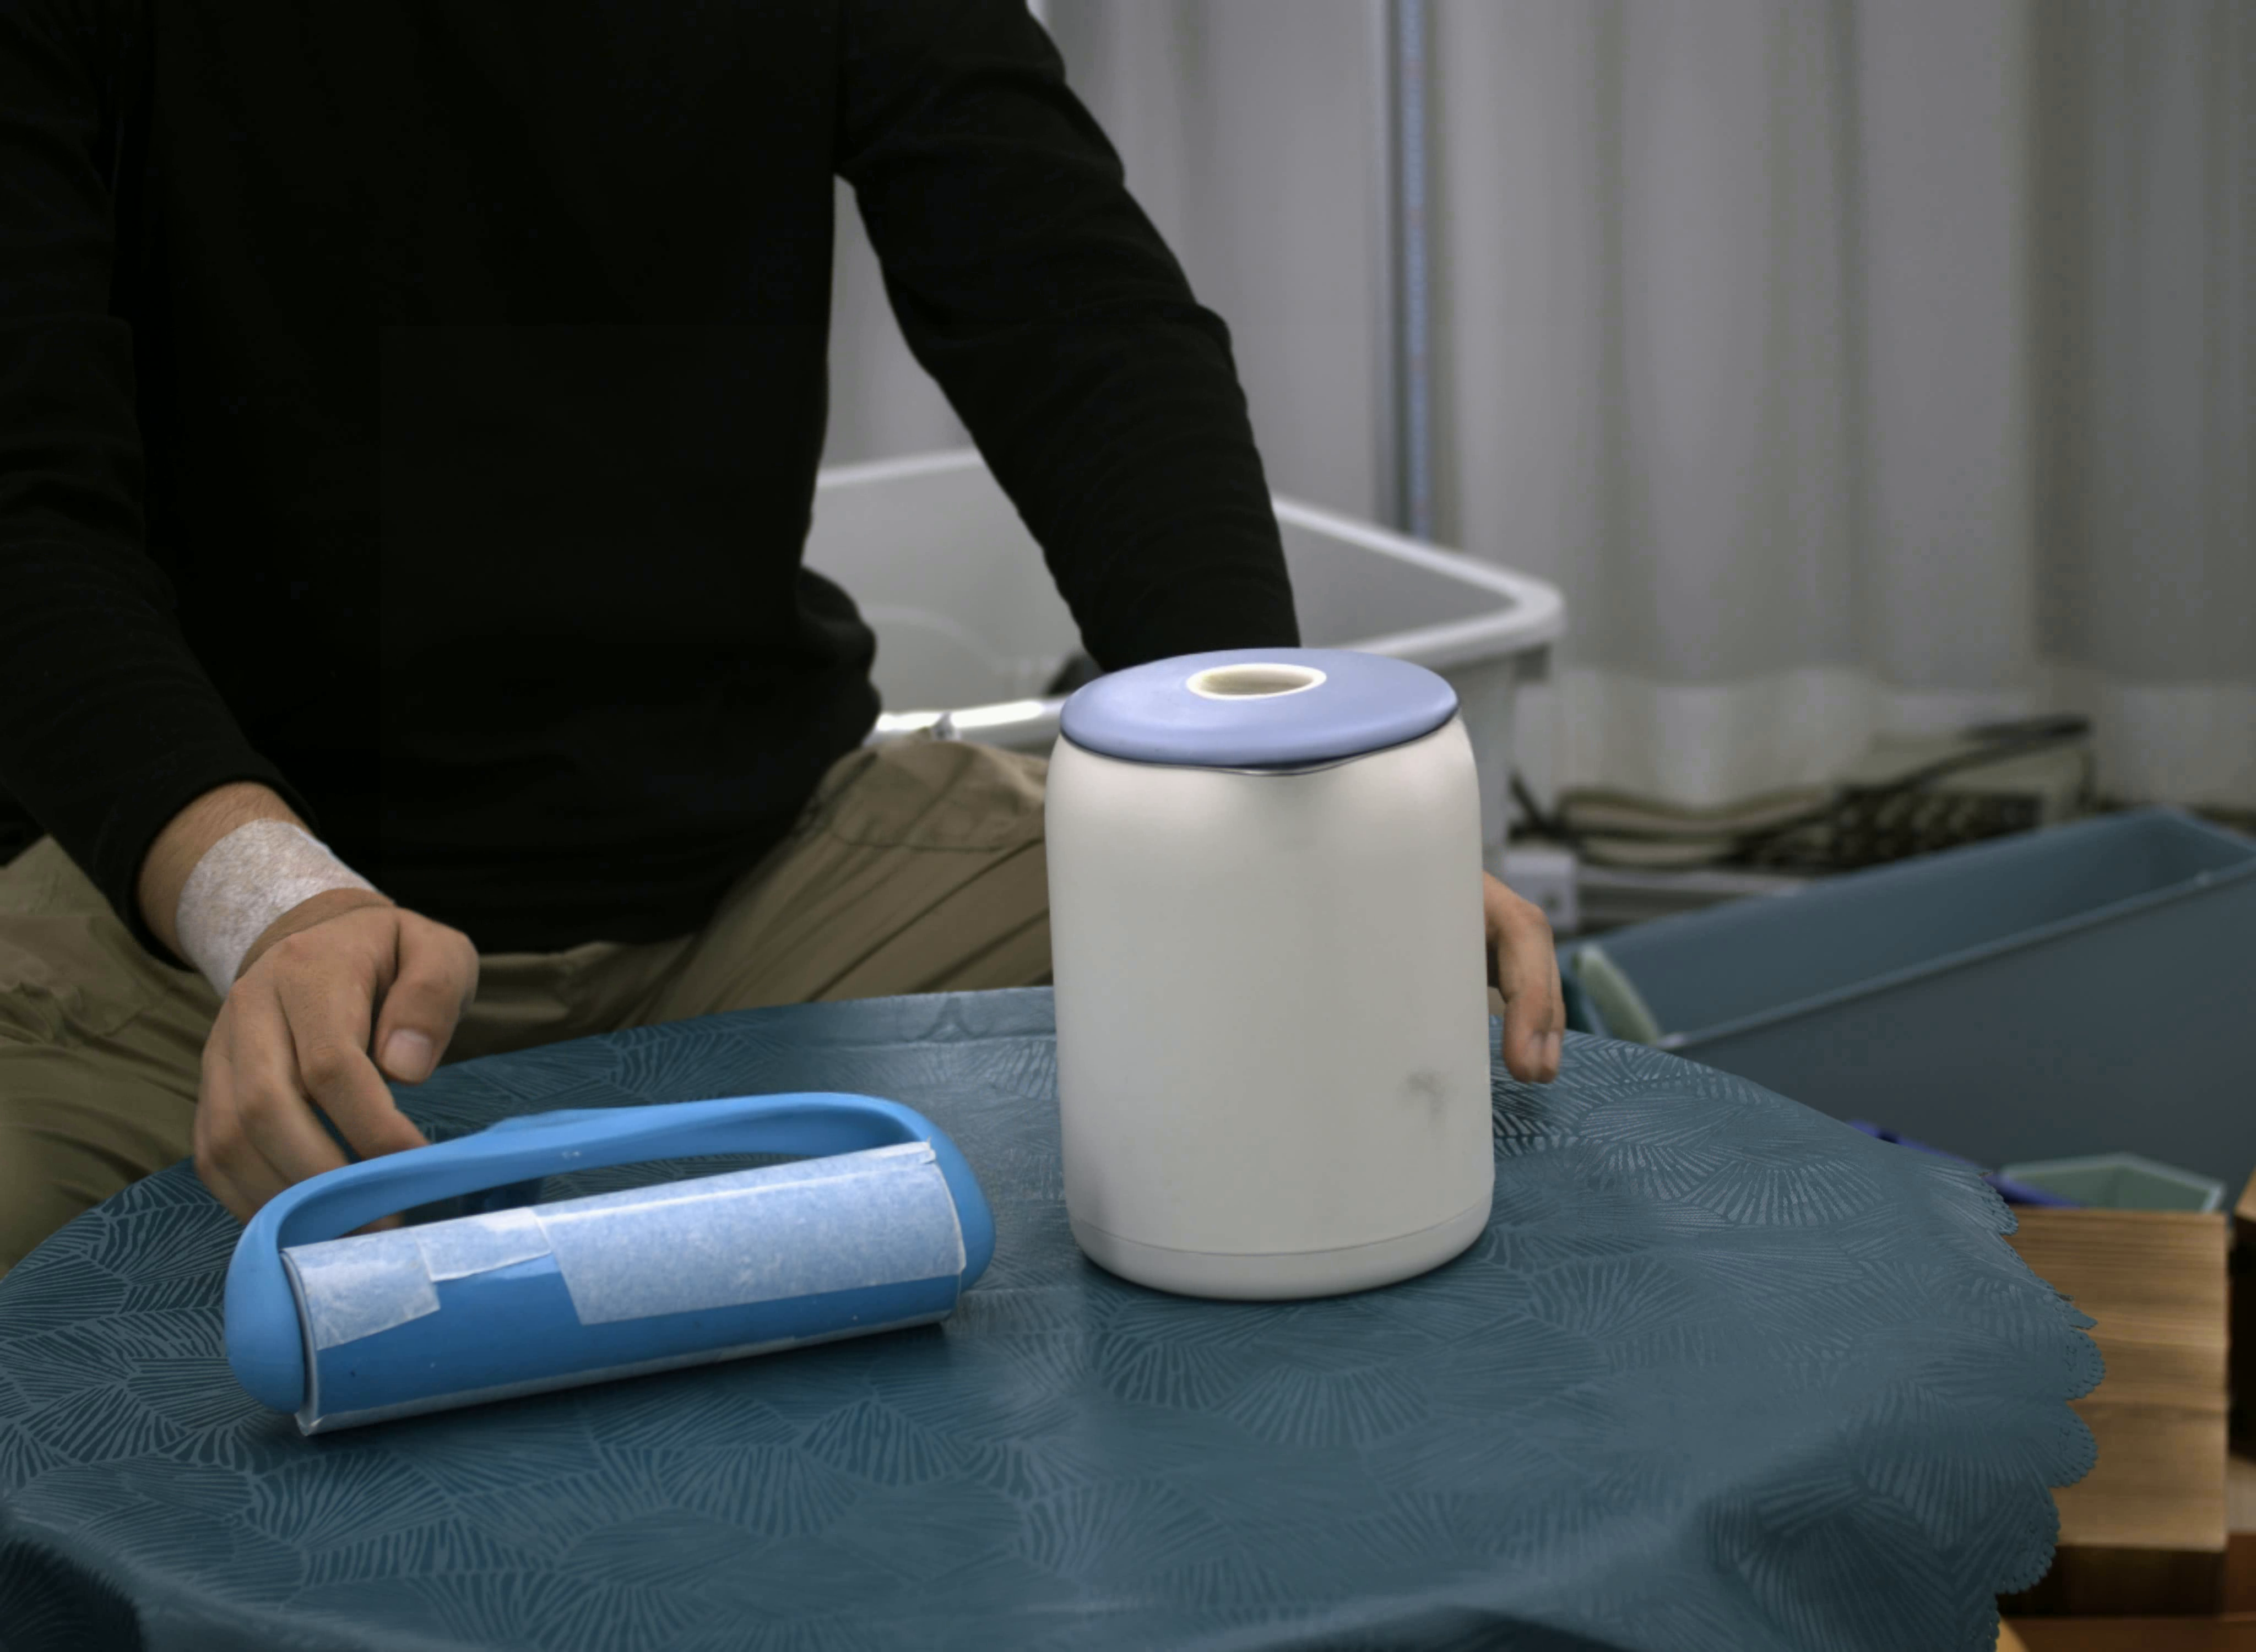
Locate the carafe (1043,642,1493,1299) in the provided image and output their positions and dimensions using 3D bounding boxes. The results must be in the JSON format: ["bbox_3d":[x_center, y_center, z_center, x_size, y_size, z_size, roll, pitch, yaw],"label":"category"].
[{"bbox_3d":[0.038,0.037,1.668,0.131,0.182,0.192,-4,12,-8],"label":"carafe"}]

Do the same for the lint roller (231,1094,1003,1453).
[{"bbox_3d":[-0.168,0.116,1.627,0.228,0.067,0.182,-12,22,-20],"label":"lint roller"}]
